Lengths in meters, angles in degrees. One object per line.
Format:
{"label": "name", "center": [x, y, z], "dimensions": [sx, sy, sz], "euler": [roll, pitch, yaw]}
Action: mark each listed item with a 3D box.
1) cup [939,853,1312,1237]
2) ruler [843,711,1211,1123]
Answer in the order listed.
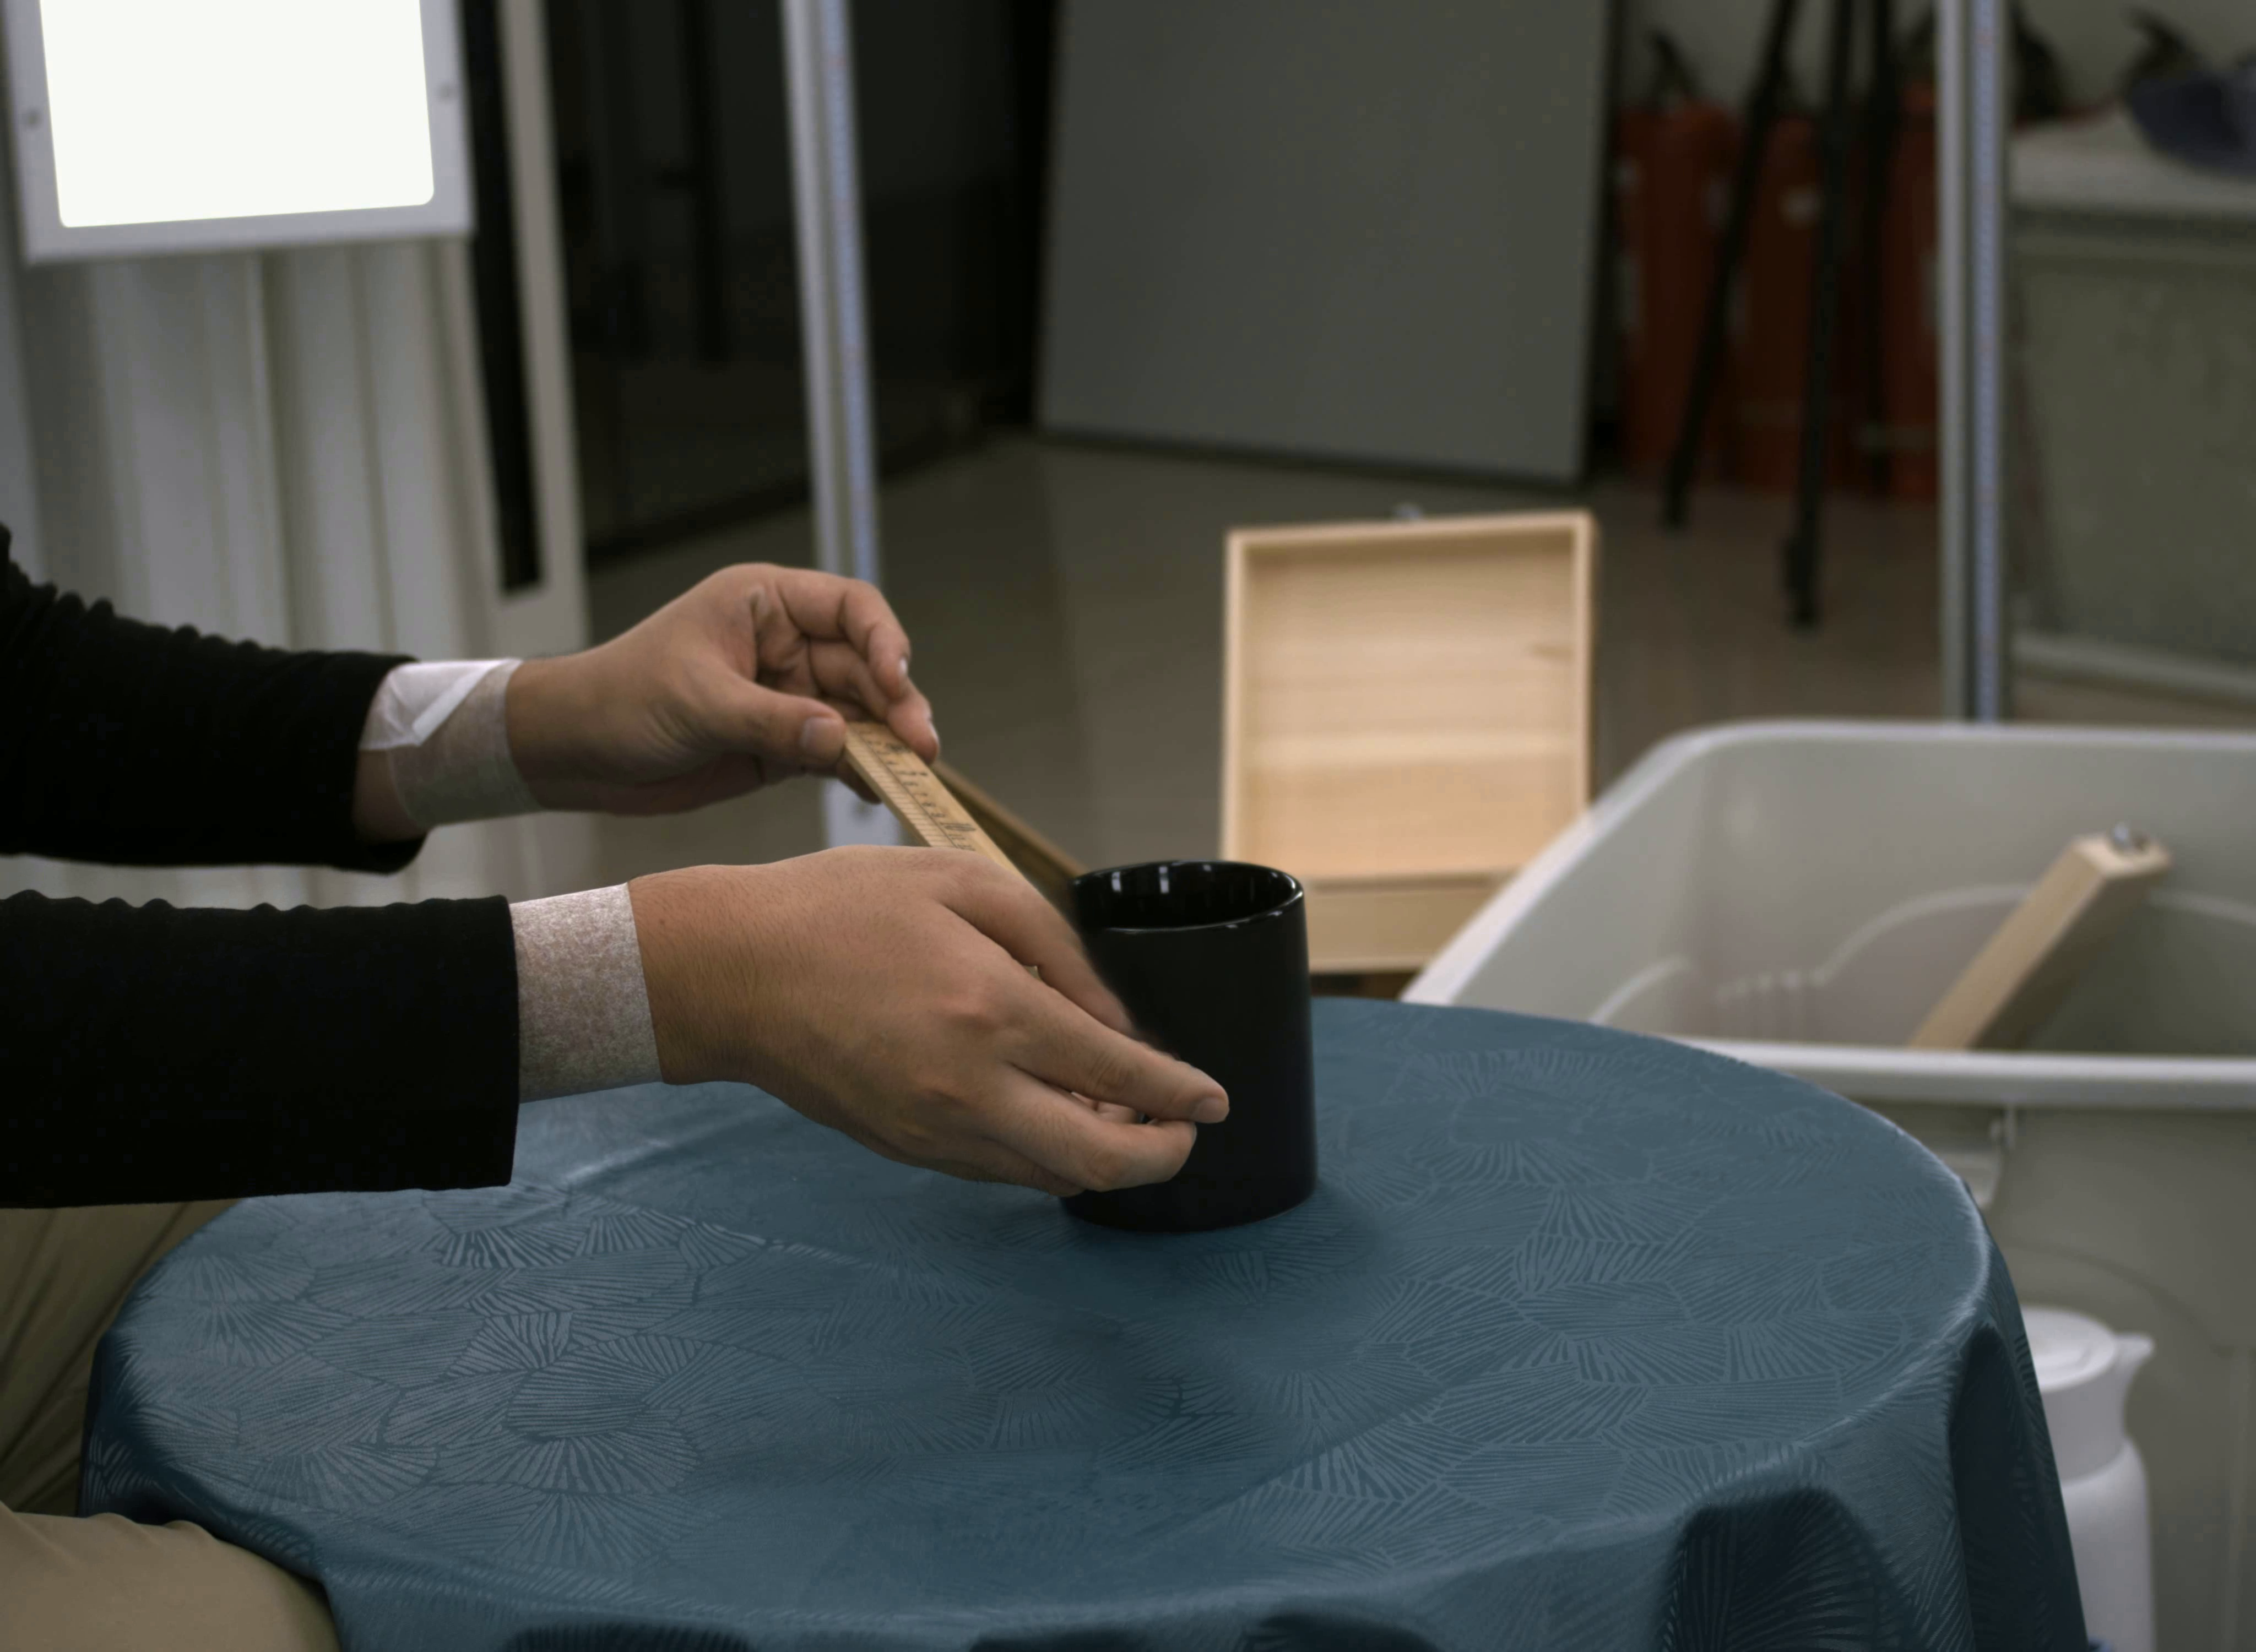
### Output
{"label": "cup", "center": [-0.001, 0.071, 1.756], "dimensions": [0.123, 0.106, 0.088], "euler": [-1, 16, 10]}
{"label": "ruler", "center": [-0.037, 0.022, 1.724], "dimensions": [0.027, 0.022, 0.335], "euler": [9, 17, -22]}
